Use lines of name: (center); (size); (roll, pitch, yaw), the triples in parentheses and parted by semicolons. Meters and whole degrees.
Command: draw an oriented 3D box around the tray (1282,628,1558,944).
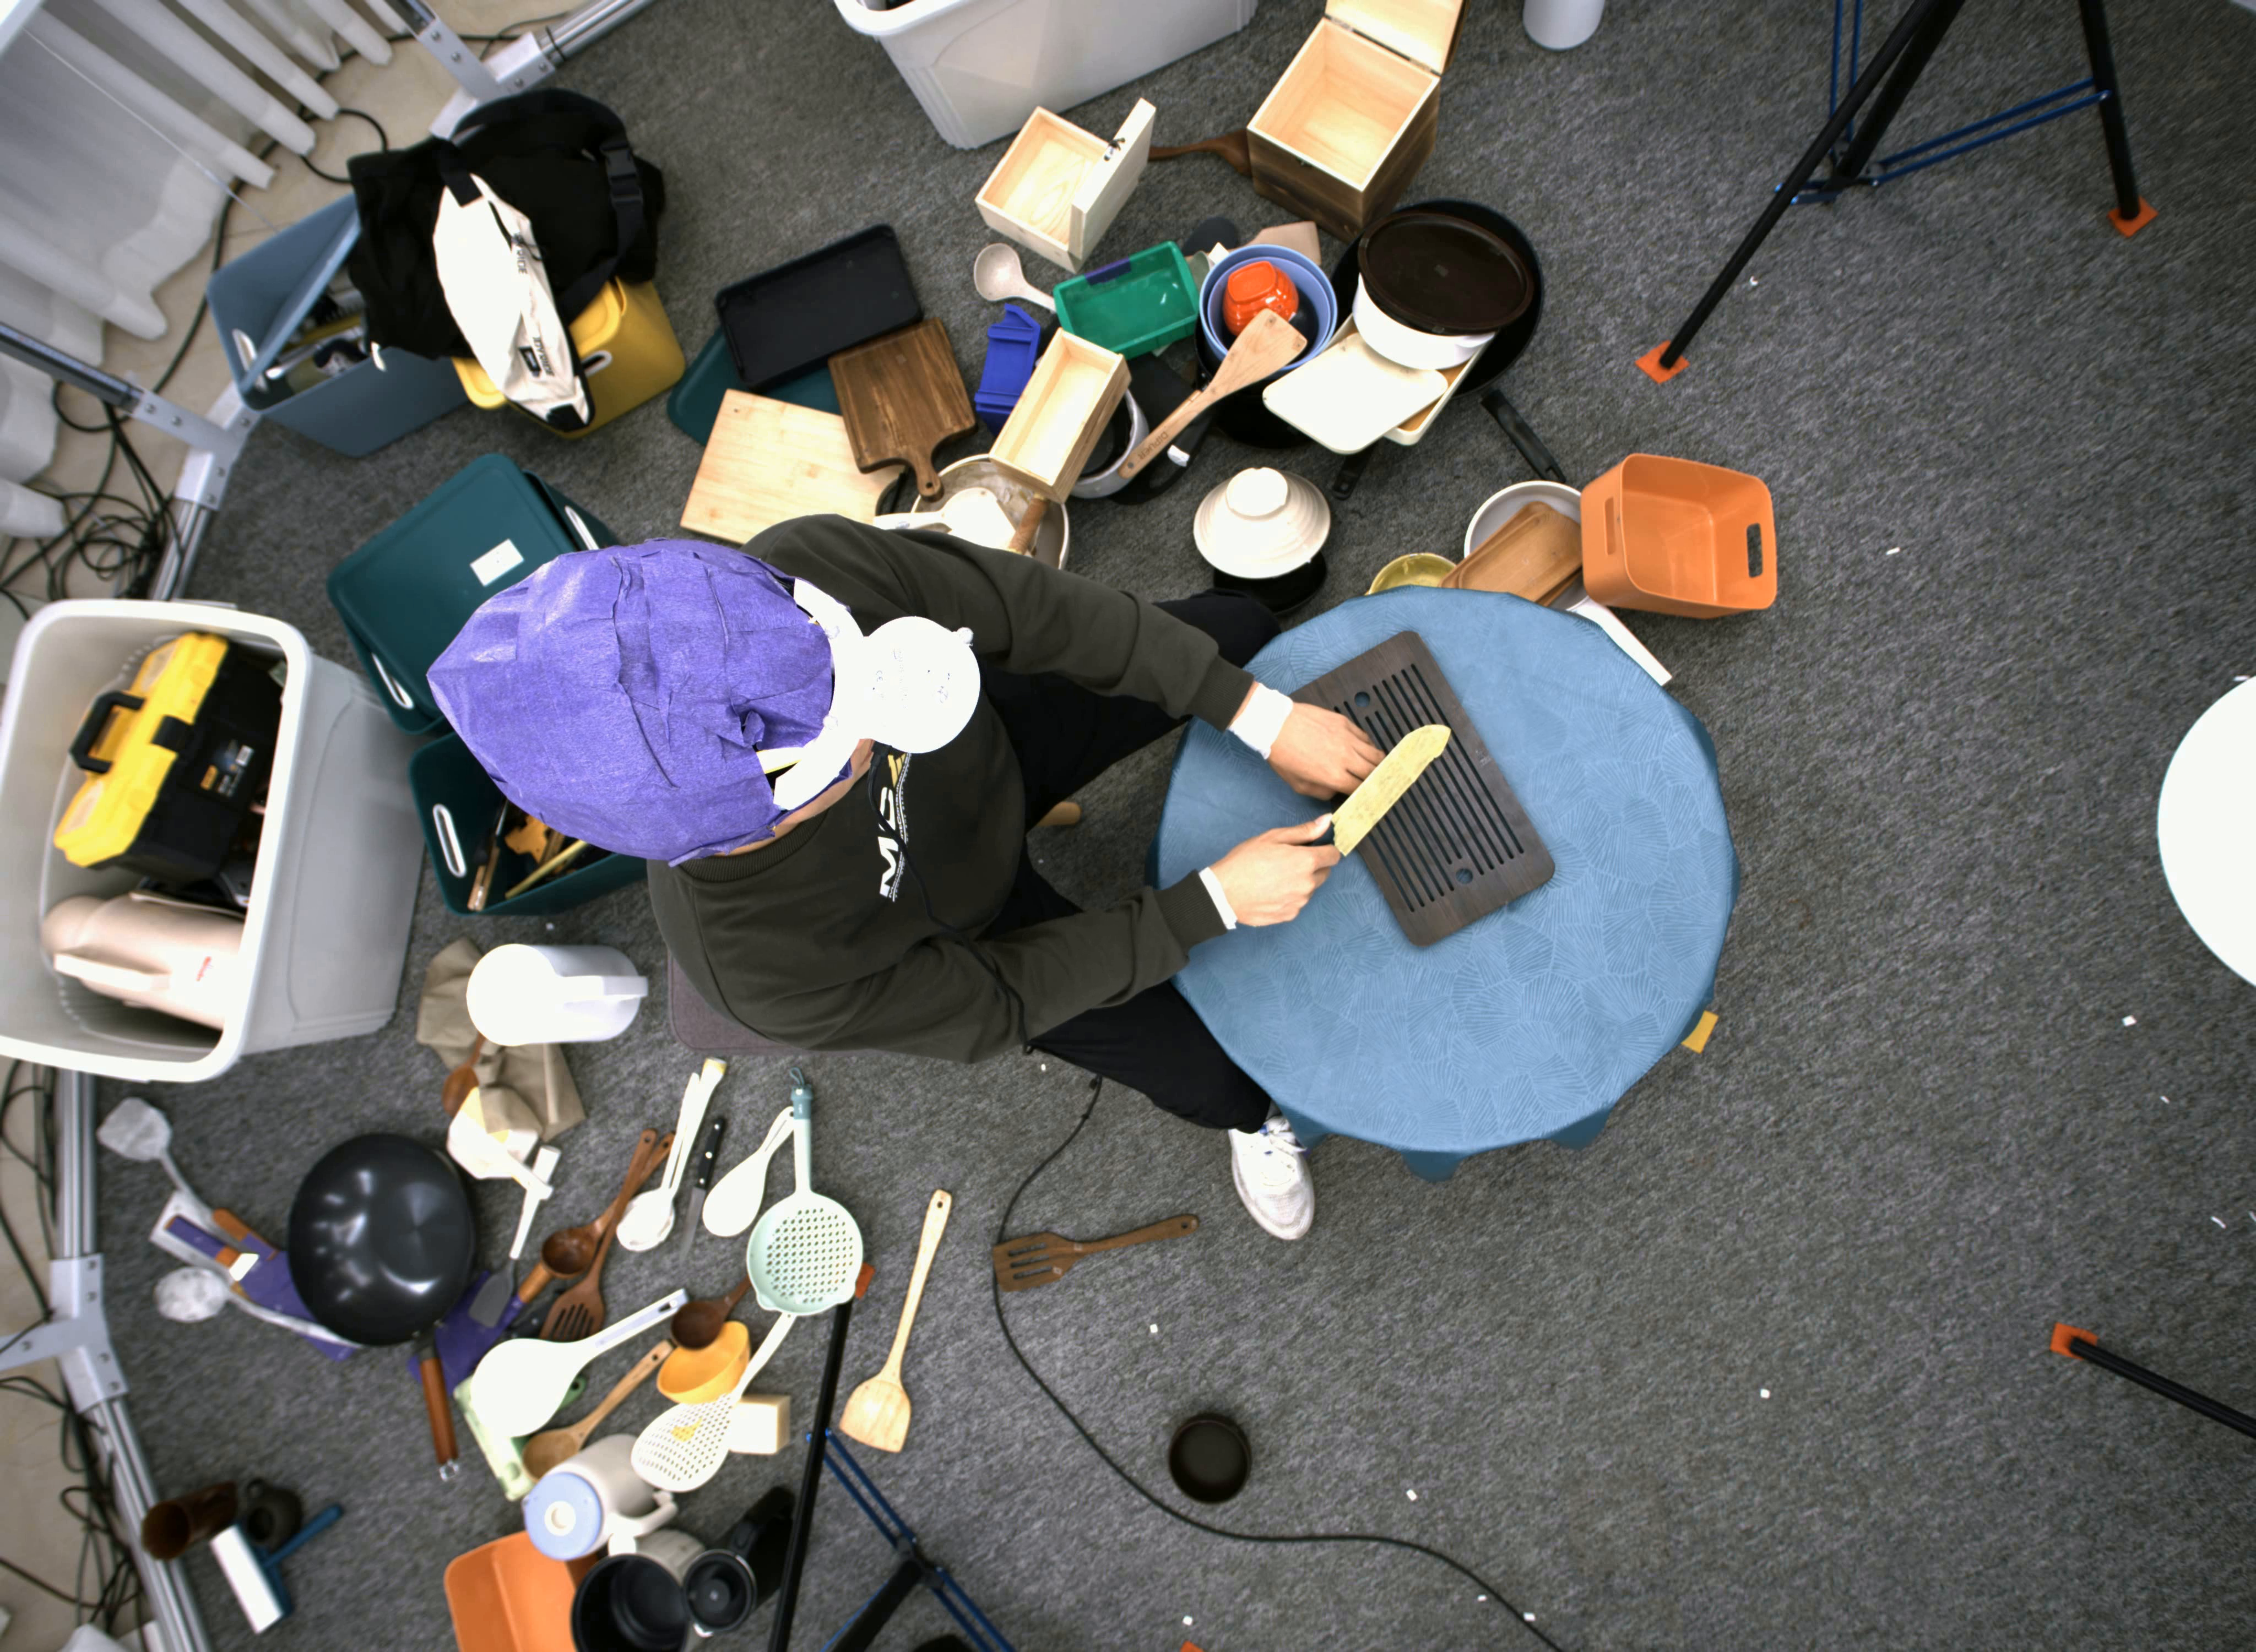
tray: (0.305, -0.045, 1.450); (0.171, 0.018, 0.304); (-29, 82, 8)

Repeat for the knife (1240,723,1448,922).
knife: (0.225, -0.004, 1.414); (0.290, 0.082, 0.027); (-44, 51, 3)
